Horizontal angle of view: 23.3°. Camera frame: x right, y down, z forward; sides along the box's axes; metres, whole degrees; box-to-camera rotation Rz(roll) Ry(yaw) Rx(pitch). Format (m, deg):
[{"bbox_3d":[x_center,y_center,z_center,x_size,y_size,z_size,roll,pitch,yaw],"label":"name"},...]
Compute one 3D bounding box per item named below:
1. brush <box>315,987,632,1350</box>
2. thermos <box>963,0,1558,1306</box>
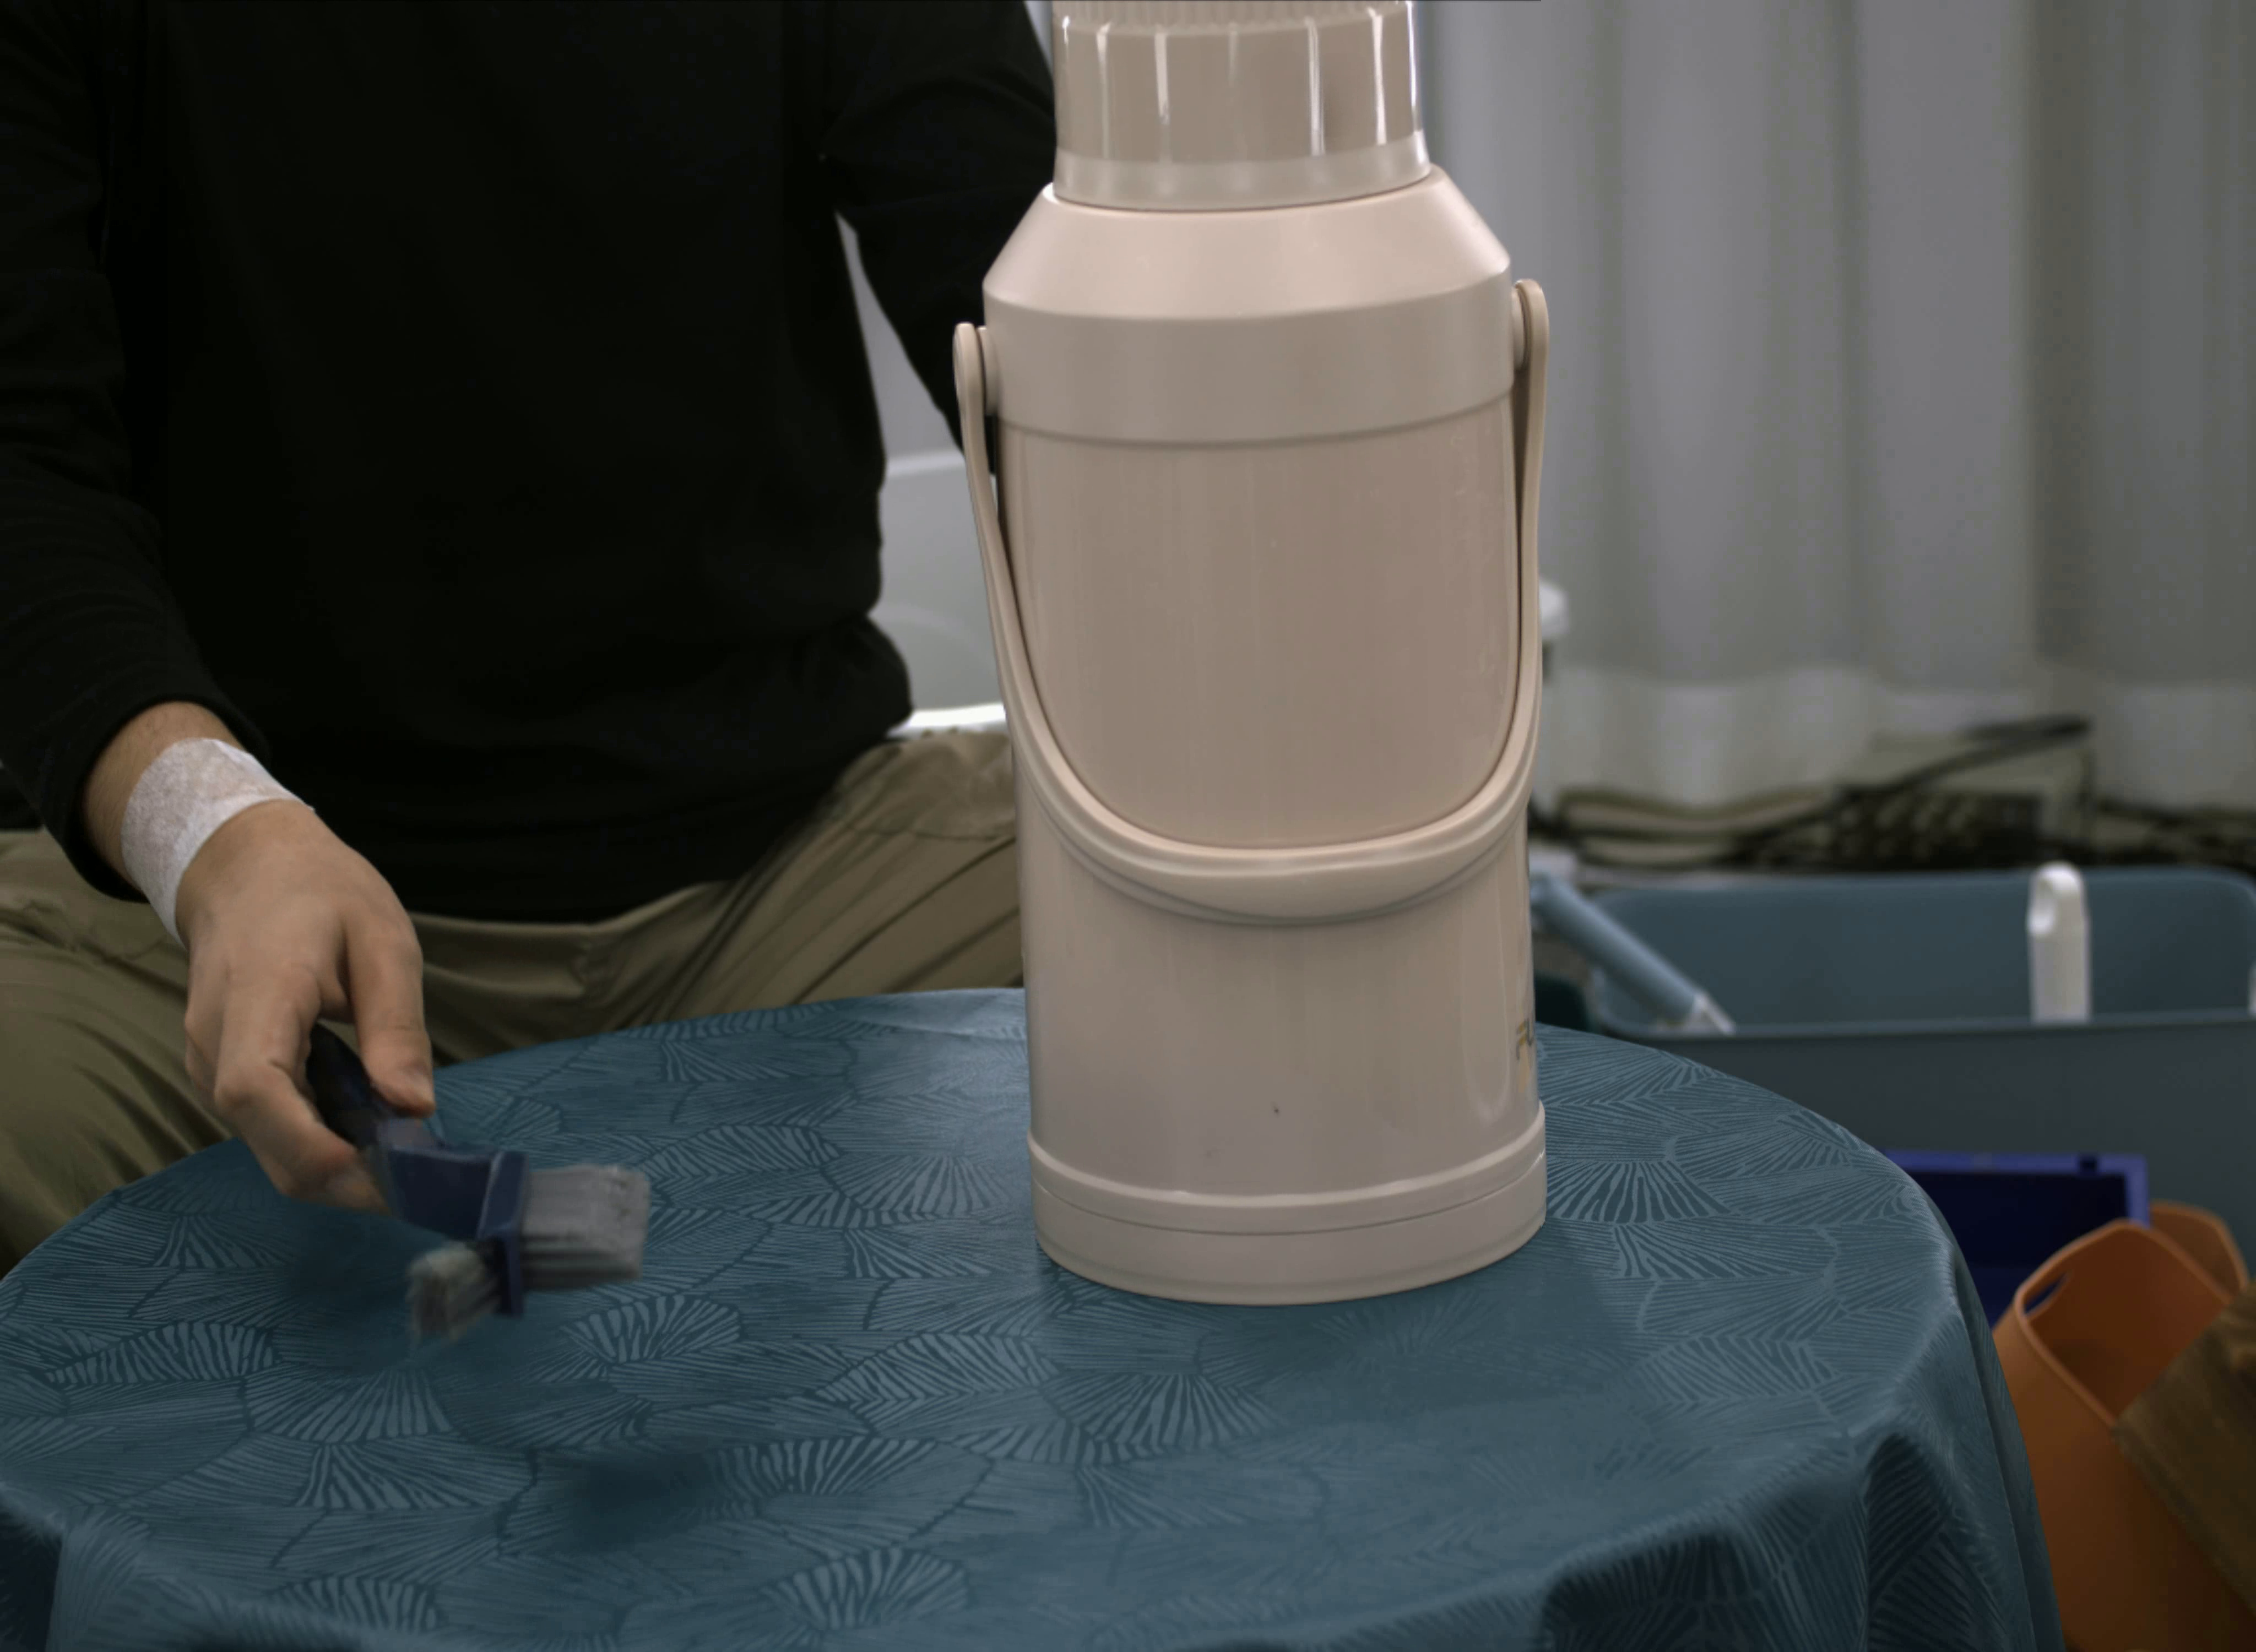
[{"bbox_3d":[-0.215,0.095,1.578,0.095,0.033,0.275,-9,14,-26],"label":"brush"},{"bbox_3d":[0.042,-0.074,1.650,0.174,0.405,0.208,-6,14,-8],"label":"thermos"}]
